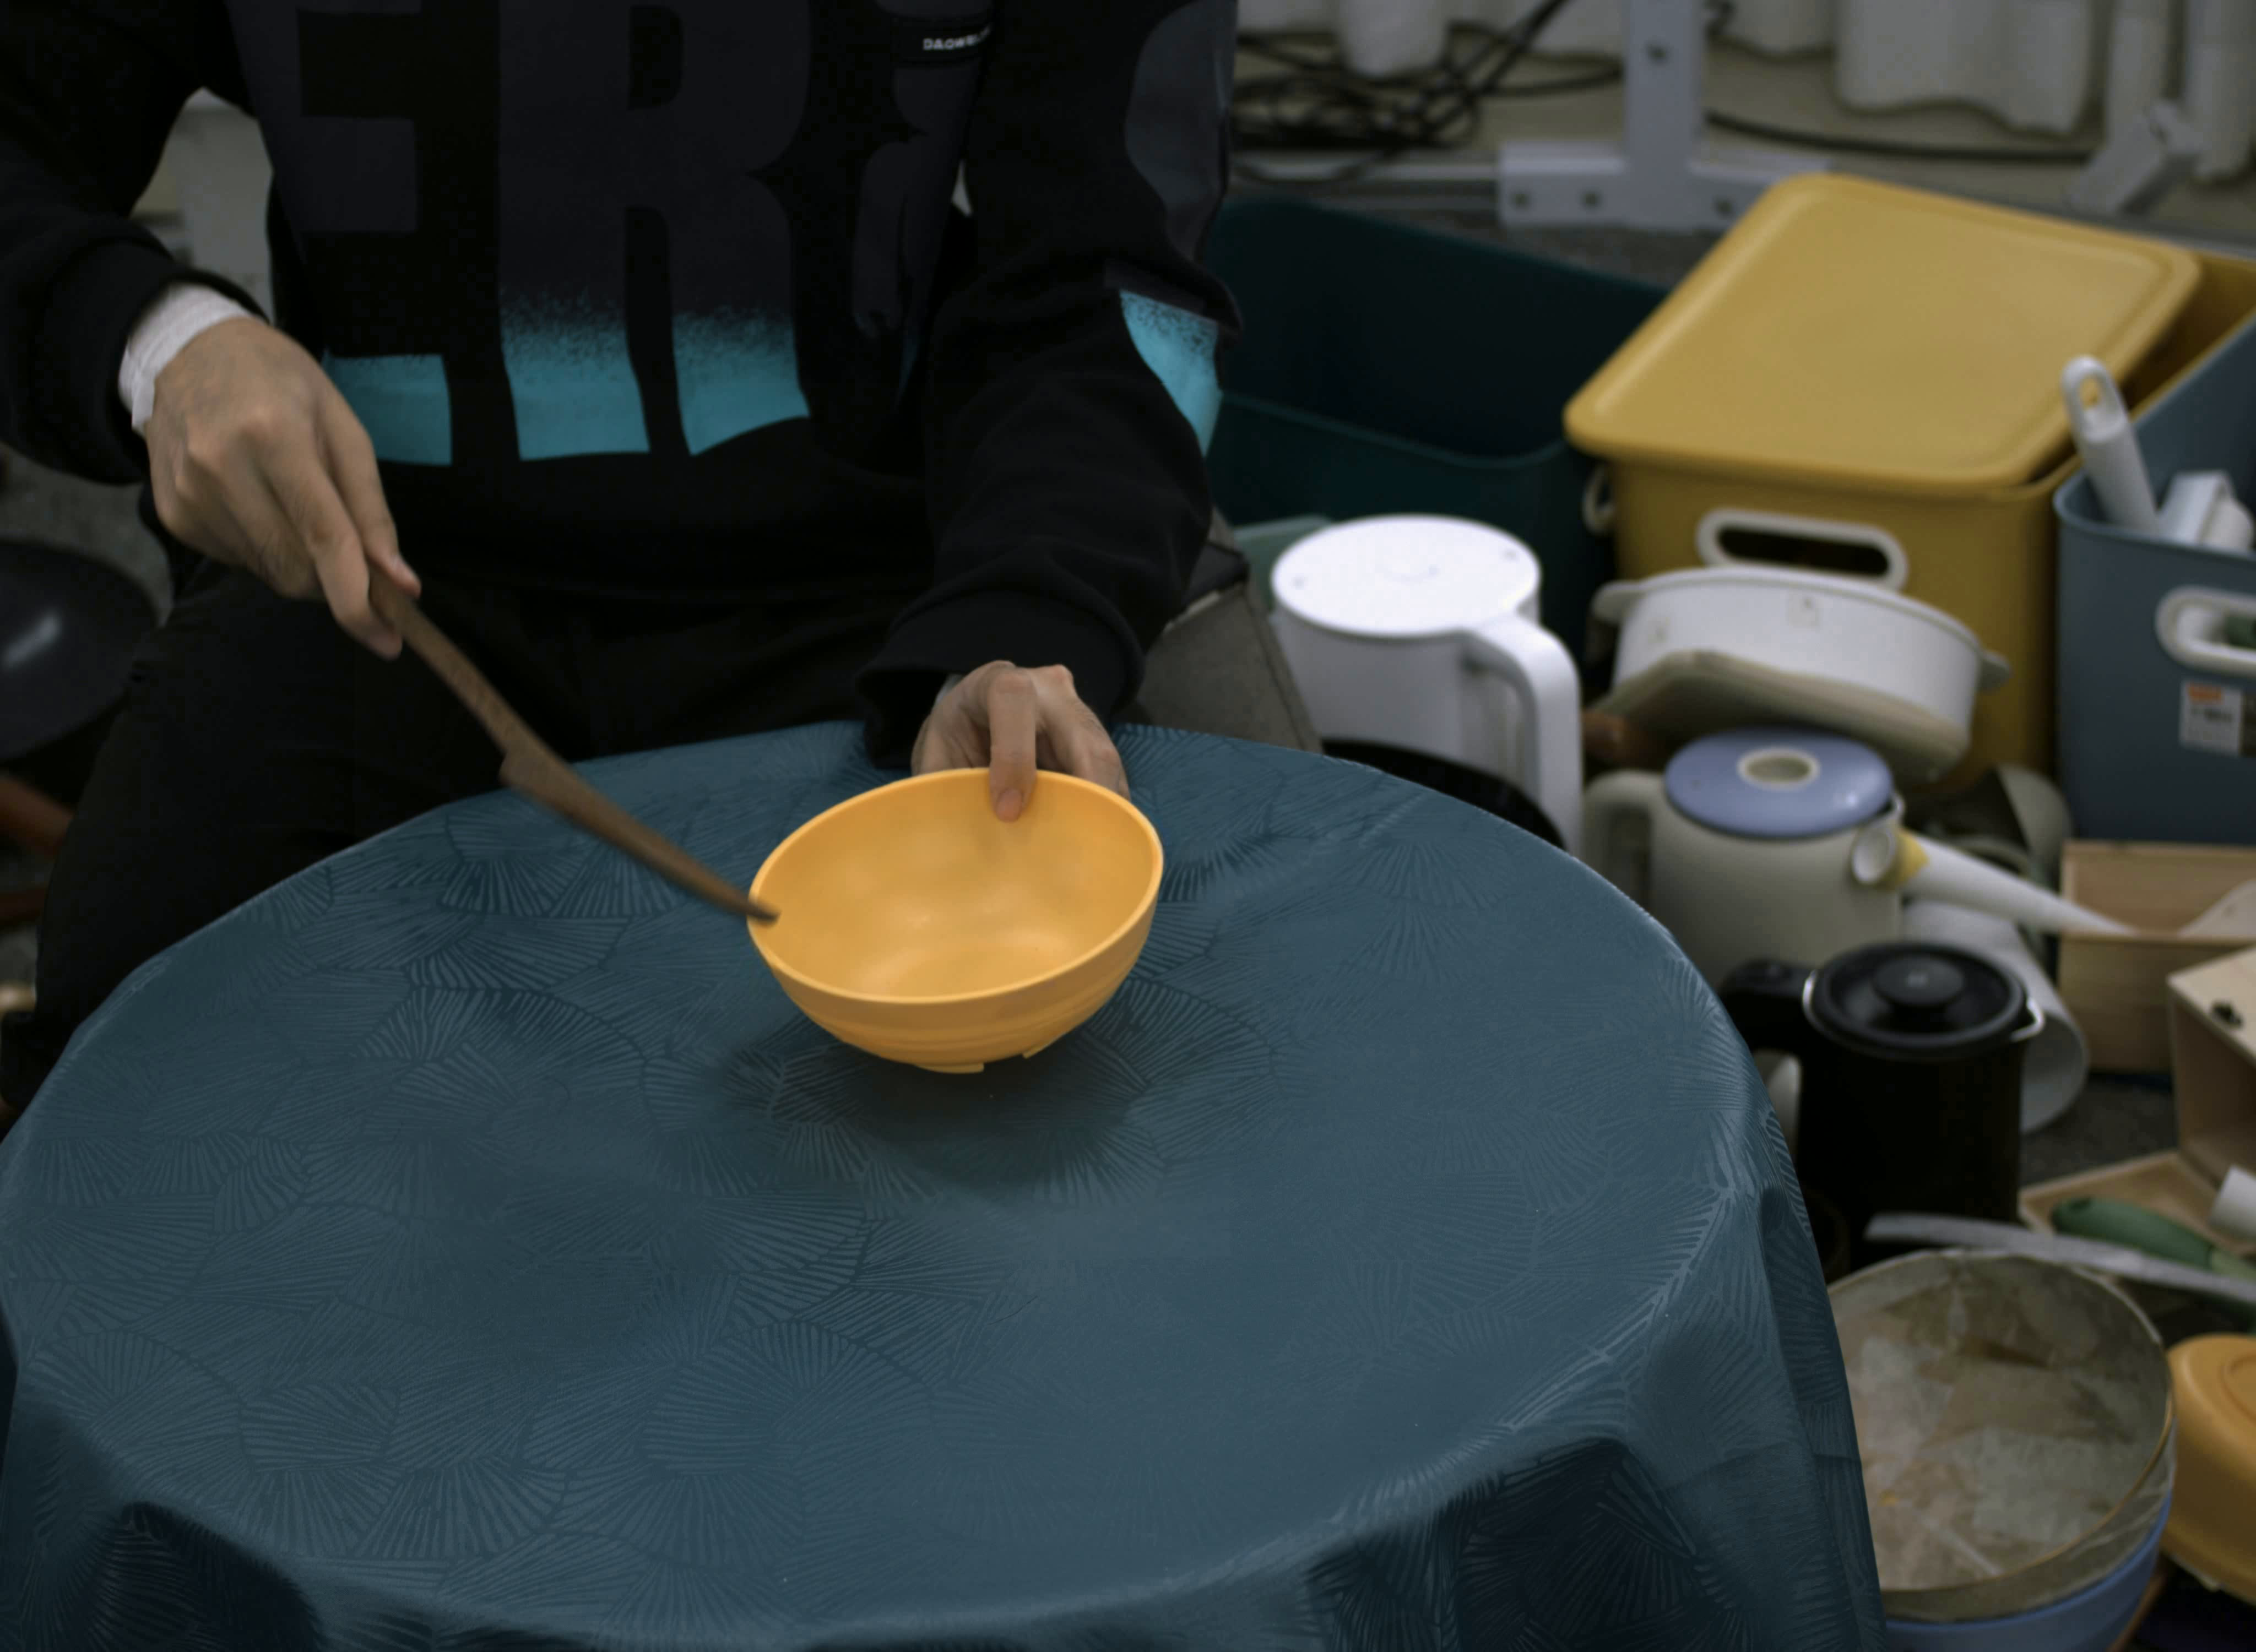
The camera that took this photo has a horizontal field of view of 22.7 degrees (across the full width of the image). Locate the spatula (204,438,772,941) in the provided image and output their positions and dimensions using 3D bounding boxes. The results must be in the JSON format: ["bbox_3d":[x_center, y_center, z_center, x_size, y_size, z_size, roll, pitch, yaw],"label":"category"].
[{"bbox_3d":[-0.238,-0.056,1.941,0.095,0.016,0.388,31,7,-41],"label":"spatula"}]

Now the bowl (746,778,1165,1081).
[{"bbox_3d":[-0.057,0.045,1.937,0.144,0.059,0.148,-2,31,2],"label":"bowl"}]
